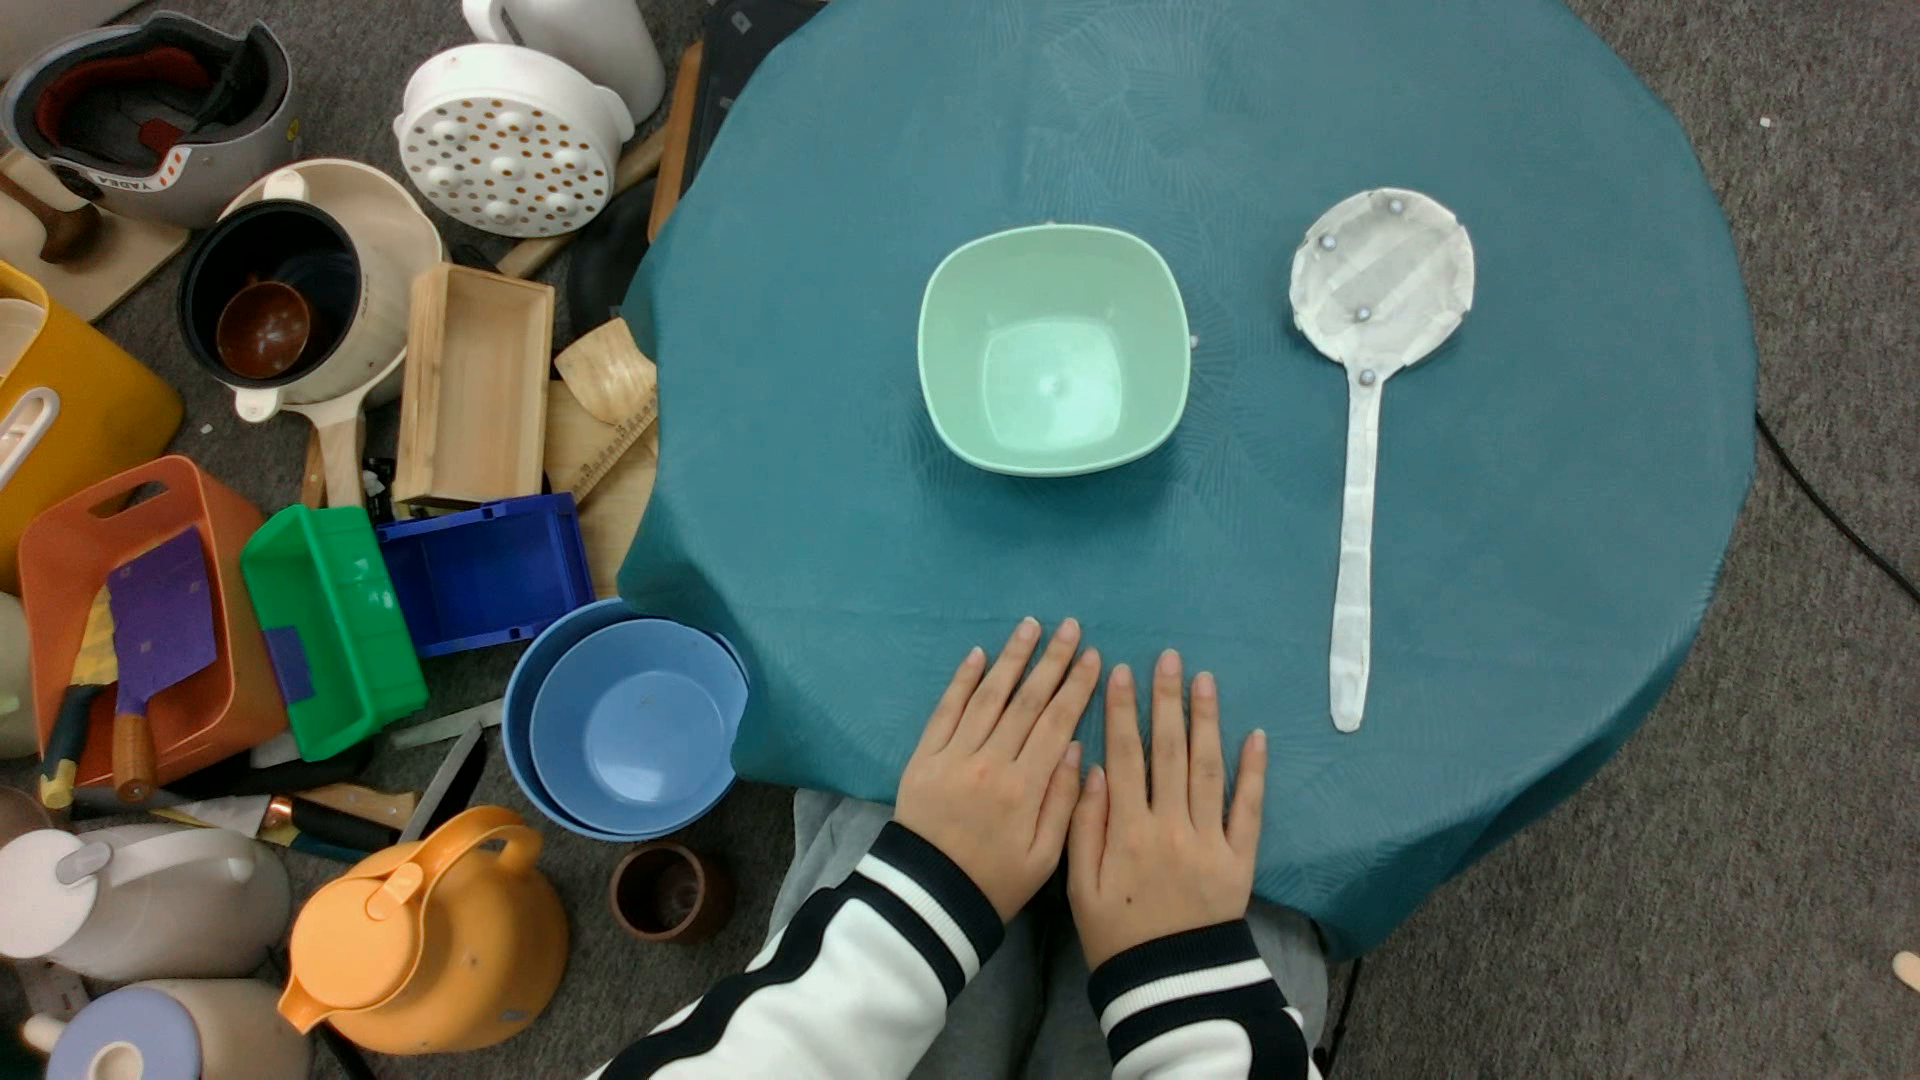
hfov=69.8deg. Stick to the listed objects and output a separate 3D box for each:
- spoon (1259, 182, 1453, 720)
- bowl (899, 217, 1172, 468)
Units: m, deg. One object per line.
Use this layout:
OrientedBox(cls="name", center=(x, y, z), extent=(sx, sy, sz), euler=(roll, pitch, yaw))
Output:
OrientedBox(cls="spoon", center=(0.191, -0.049, 0.704), extent=(0.100, 0.059, 0.278), euler=(9, 73, 10))
OrientedBox(cls="bowl", center=(0.039, -0.095, 0.727), extent=(0.151, 0.058, 0.152), euler=(0, 72, 2))
